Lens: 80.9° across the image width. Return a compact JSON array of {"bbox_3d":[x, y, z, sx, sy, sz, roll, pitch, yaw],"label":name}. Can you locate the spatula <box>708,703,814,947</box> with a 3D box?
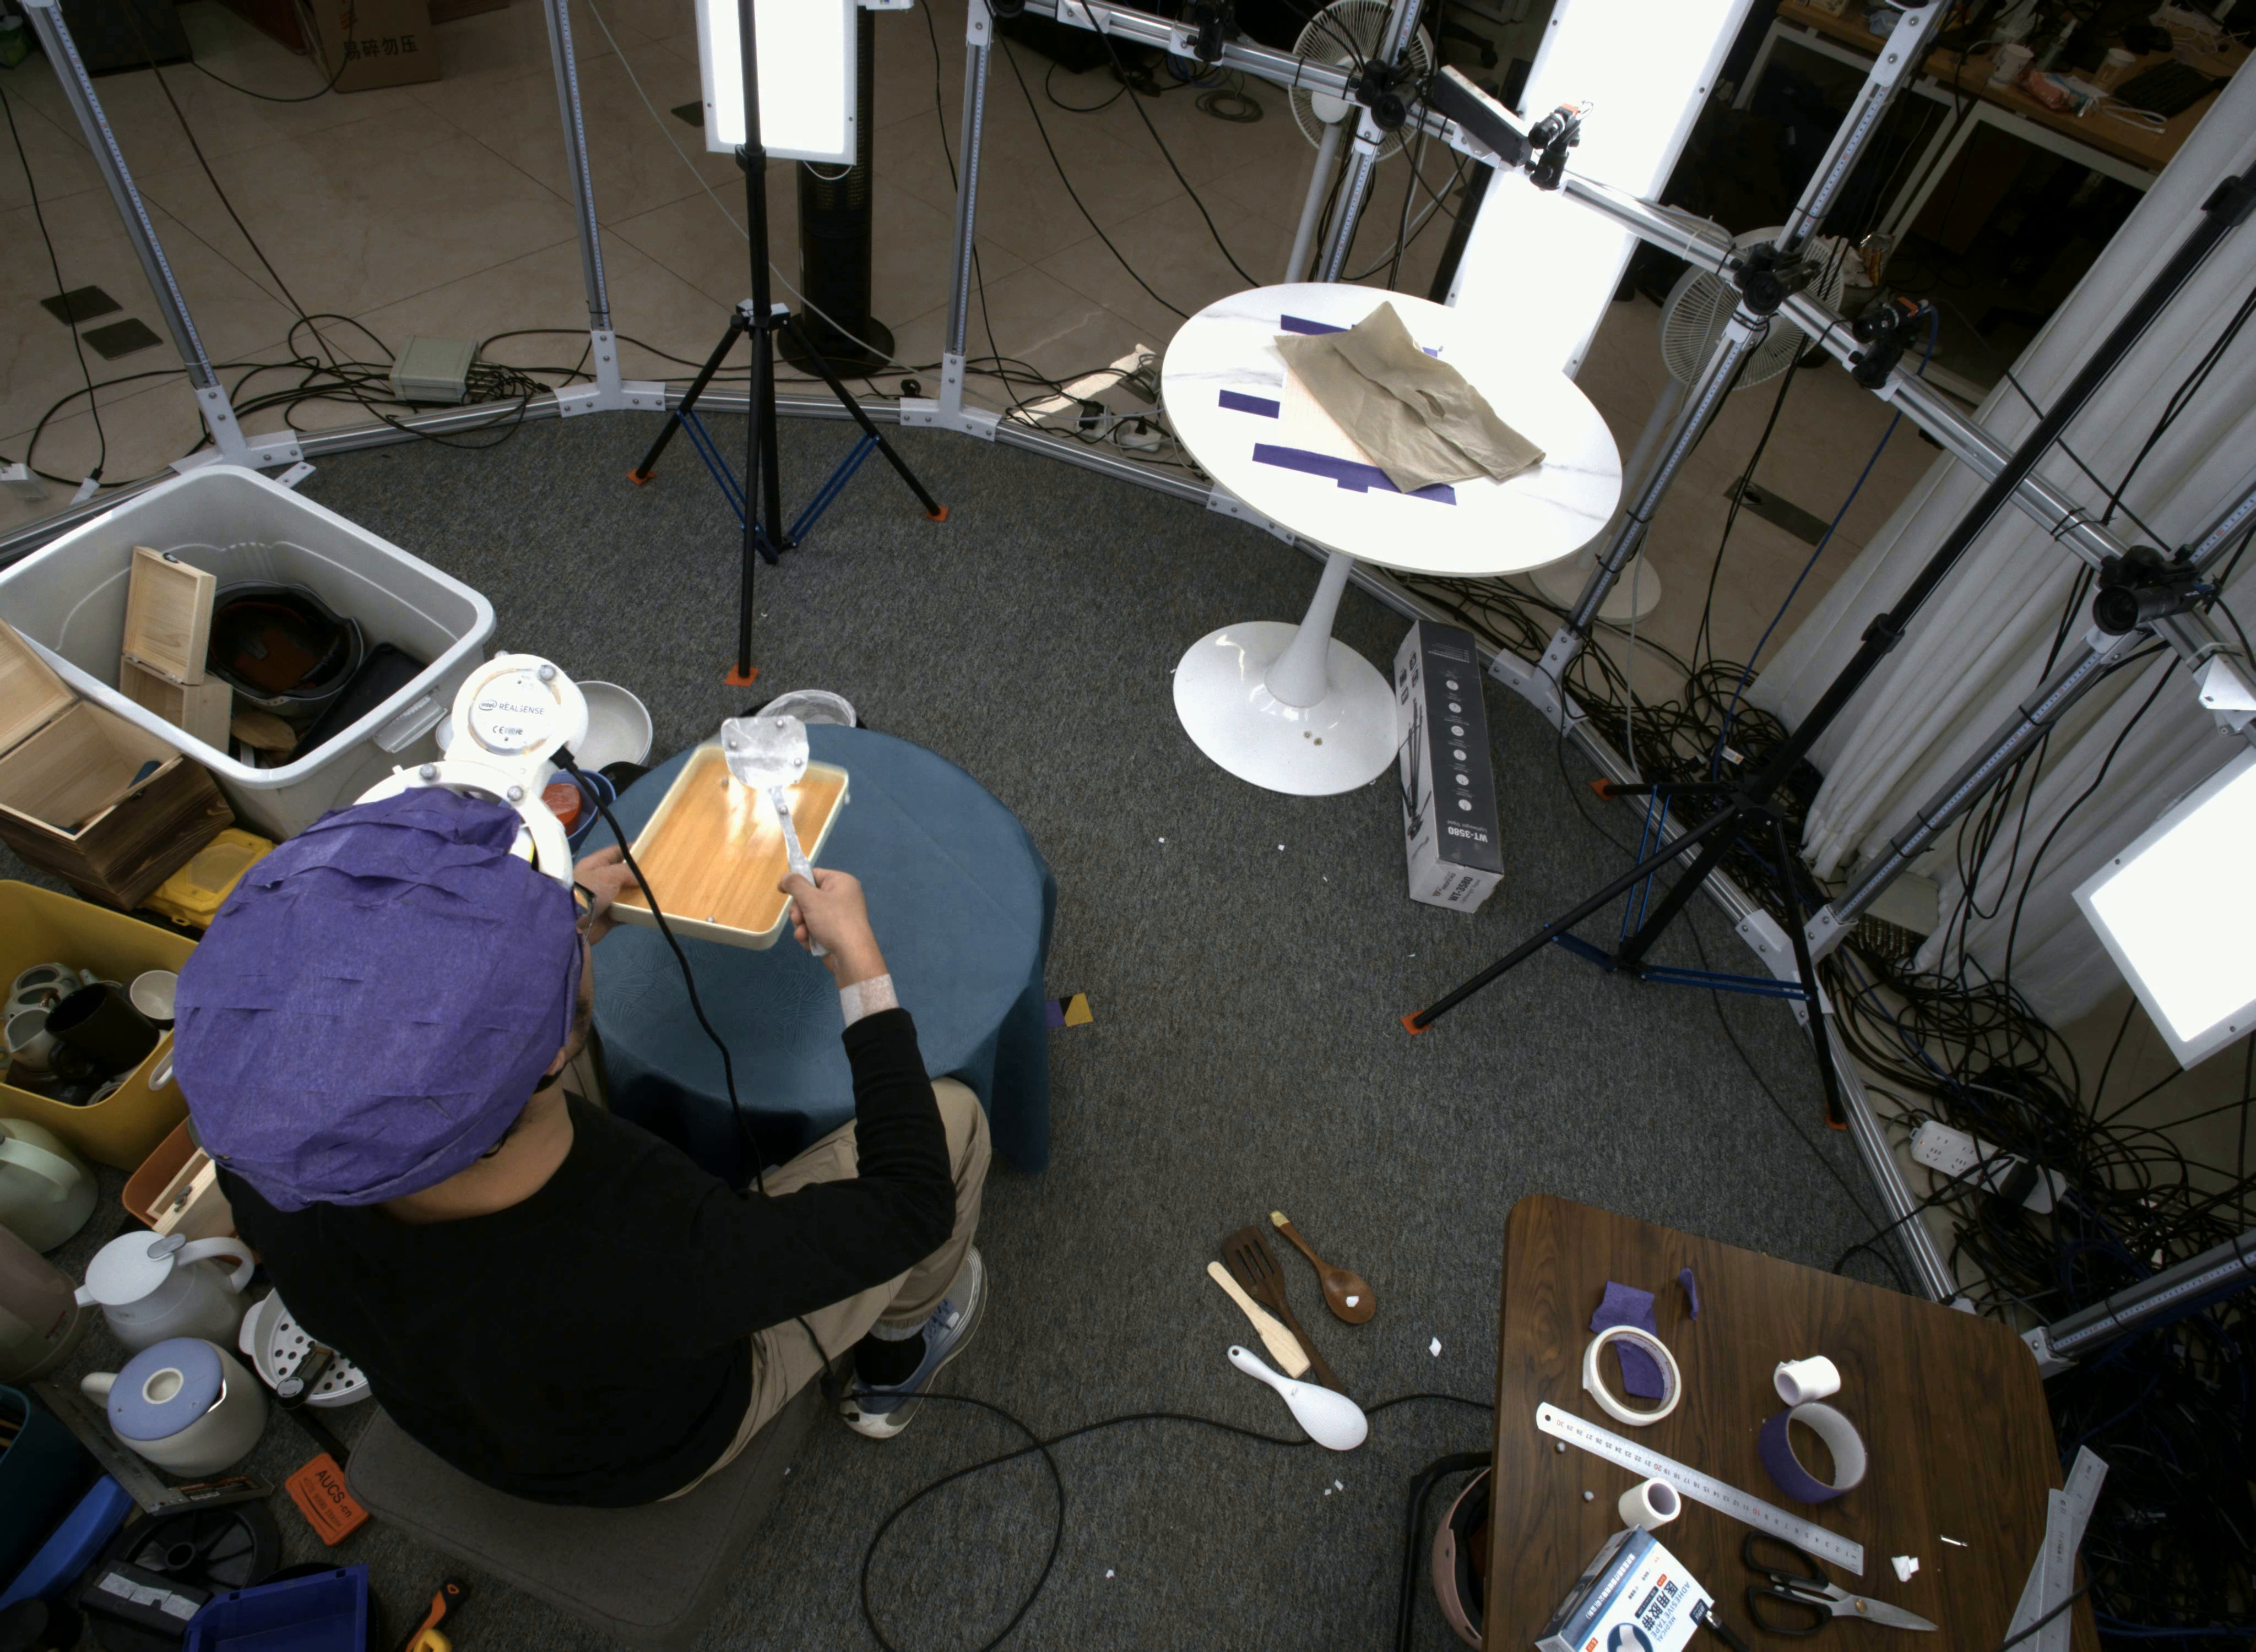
[{"bbox_3d":[-0.371,-0.012,1.363,0.100,0.046,0.353,-3,40,-26],"label":"spatula"}]

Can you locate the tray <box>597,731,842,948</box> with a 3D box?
[{"bbox_3d":[-0.452,0.006,1.450,0.190,0.028,0.295,13,42,-1],"label":"tray"}]
